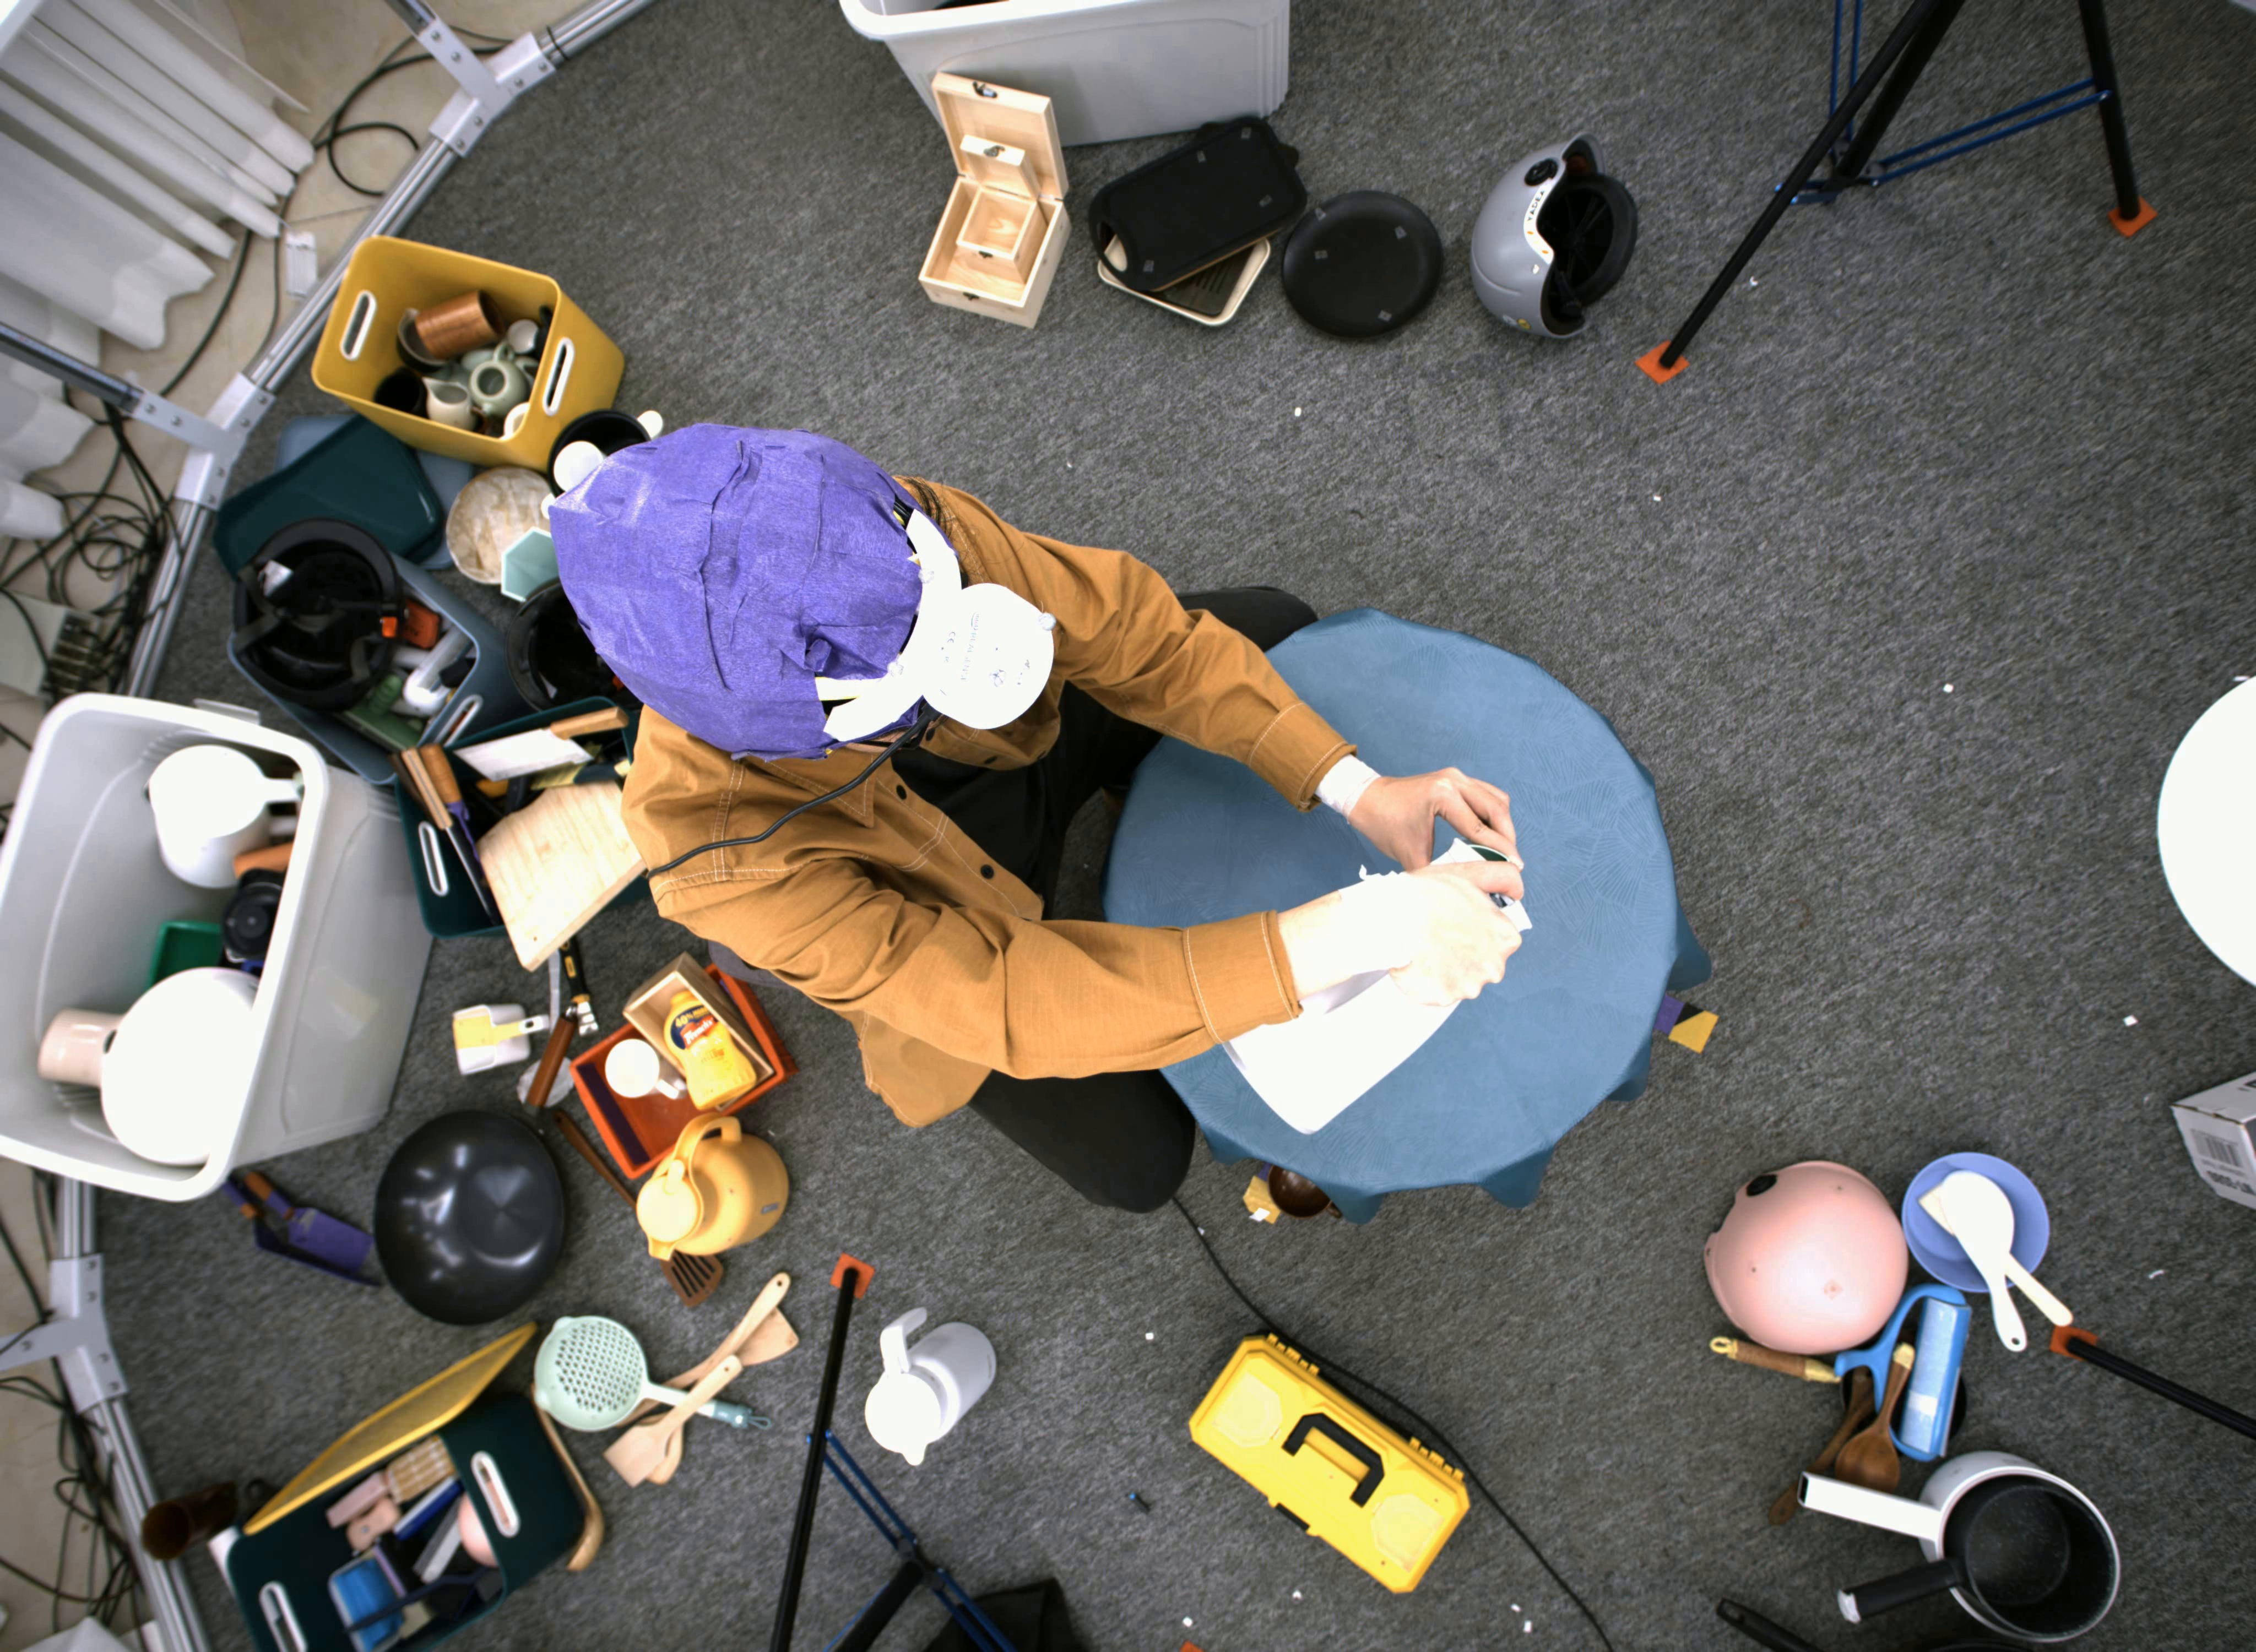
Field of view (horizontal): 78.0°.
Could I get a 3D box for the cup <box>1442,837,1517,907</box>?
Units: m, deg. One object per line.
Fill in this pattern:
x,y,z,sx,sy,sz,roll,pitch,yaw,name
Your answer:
0.314,0.044,1.245,0.067,0.131,0.067,1,95,13,cup

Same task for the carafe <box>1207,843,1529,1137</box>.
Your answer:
0.197,0.124,1.090,0.251,0.166,0.132,-40,90,13,carafe
